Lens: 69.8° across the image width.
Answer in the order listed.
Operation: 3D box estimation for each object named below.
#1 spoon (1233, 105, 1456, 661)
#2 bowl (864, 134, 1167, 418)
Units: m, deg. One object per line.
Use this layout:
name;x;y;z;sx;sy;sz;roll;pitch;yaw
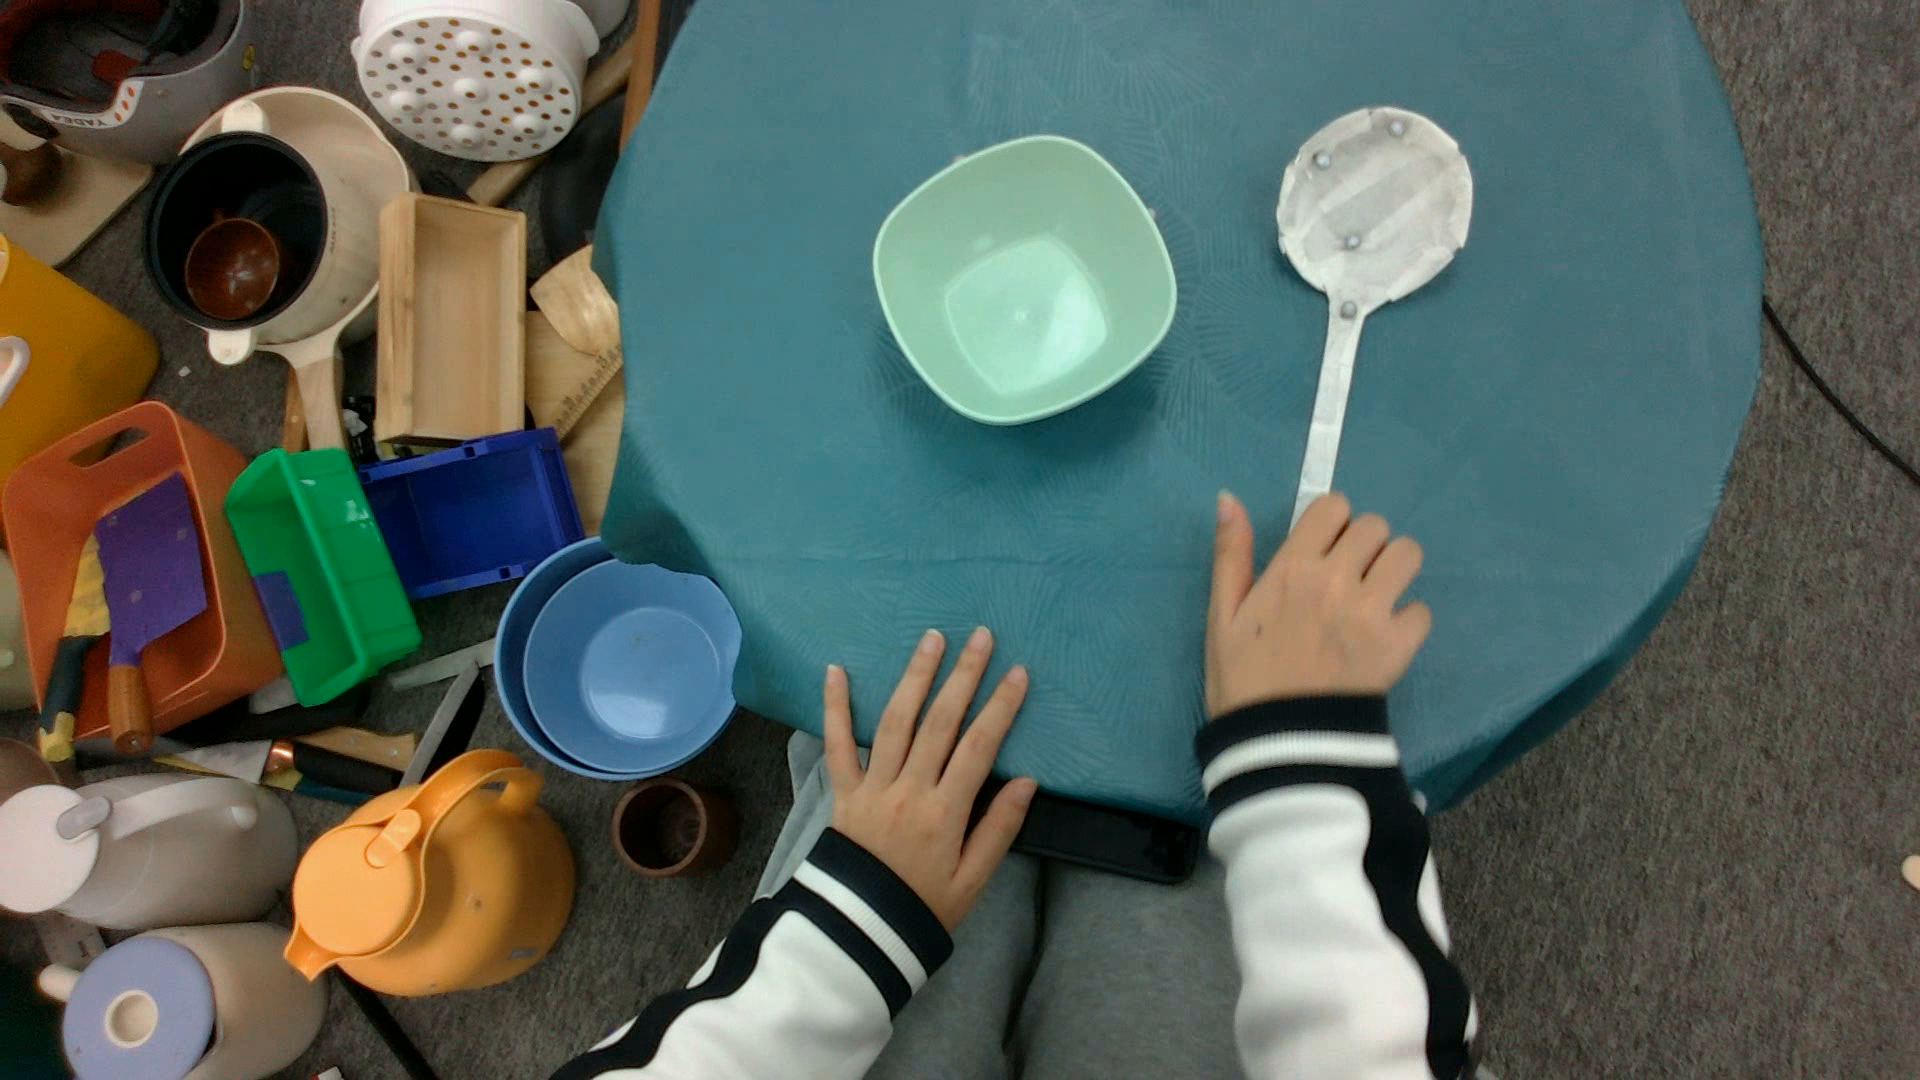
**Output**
spoon;0.170;-0.078;0.677;0.100;0.059;0.278;14;78;12
bowl;0.028;-0.125;0.699;0.151;0.058;0.152;-1;76;4
